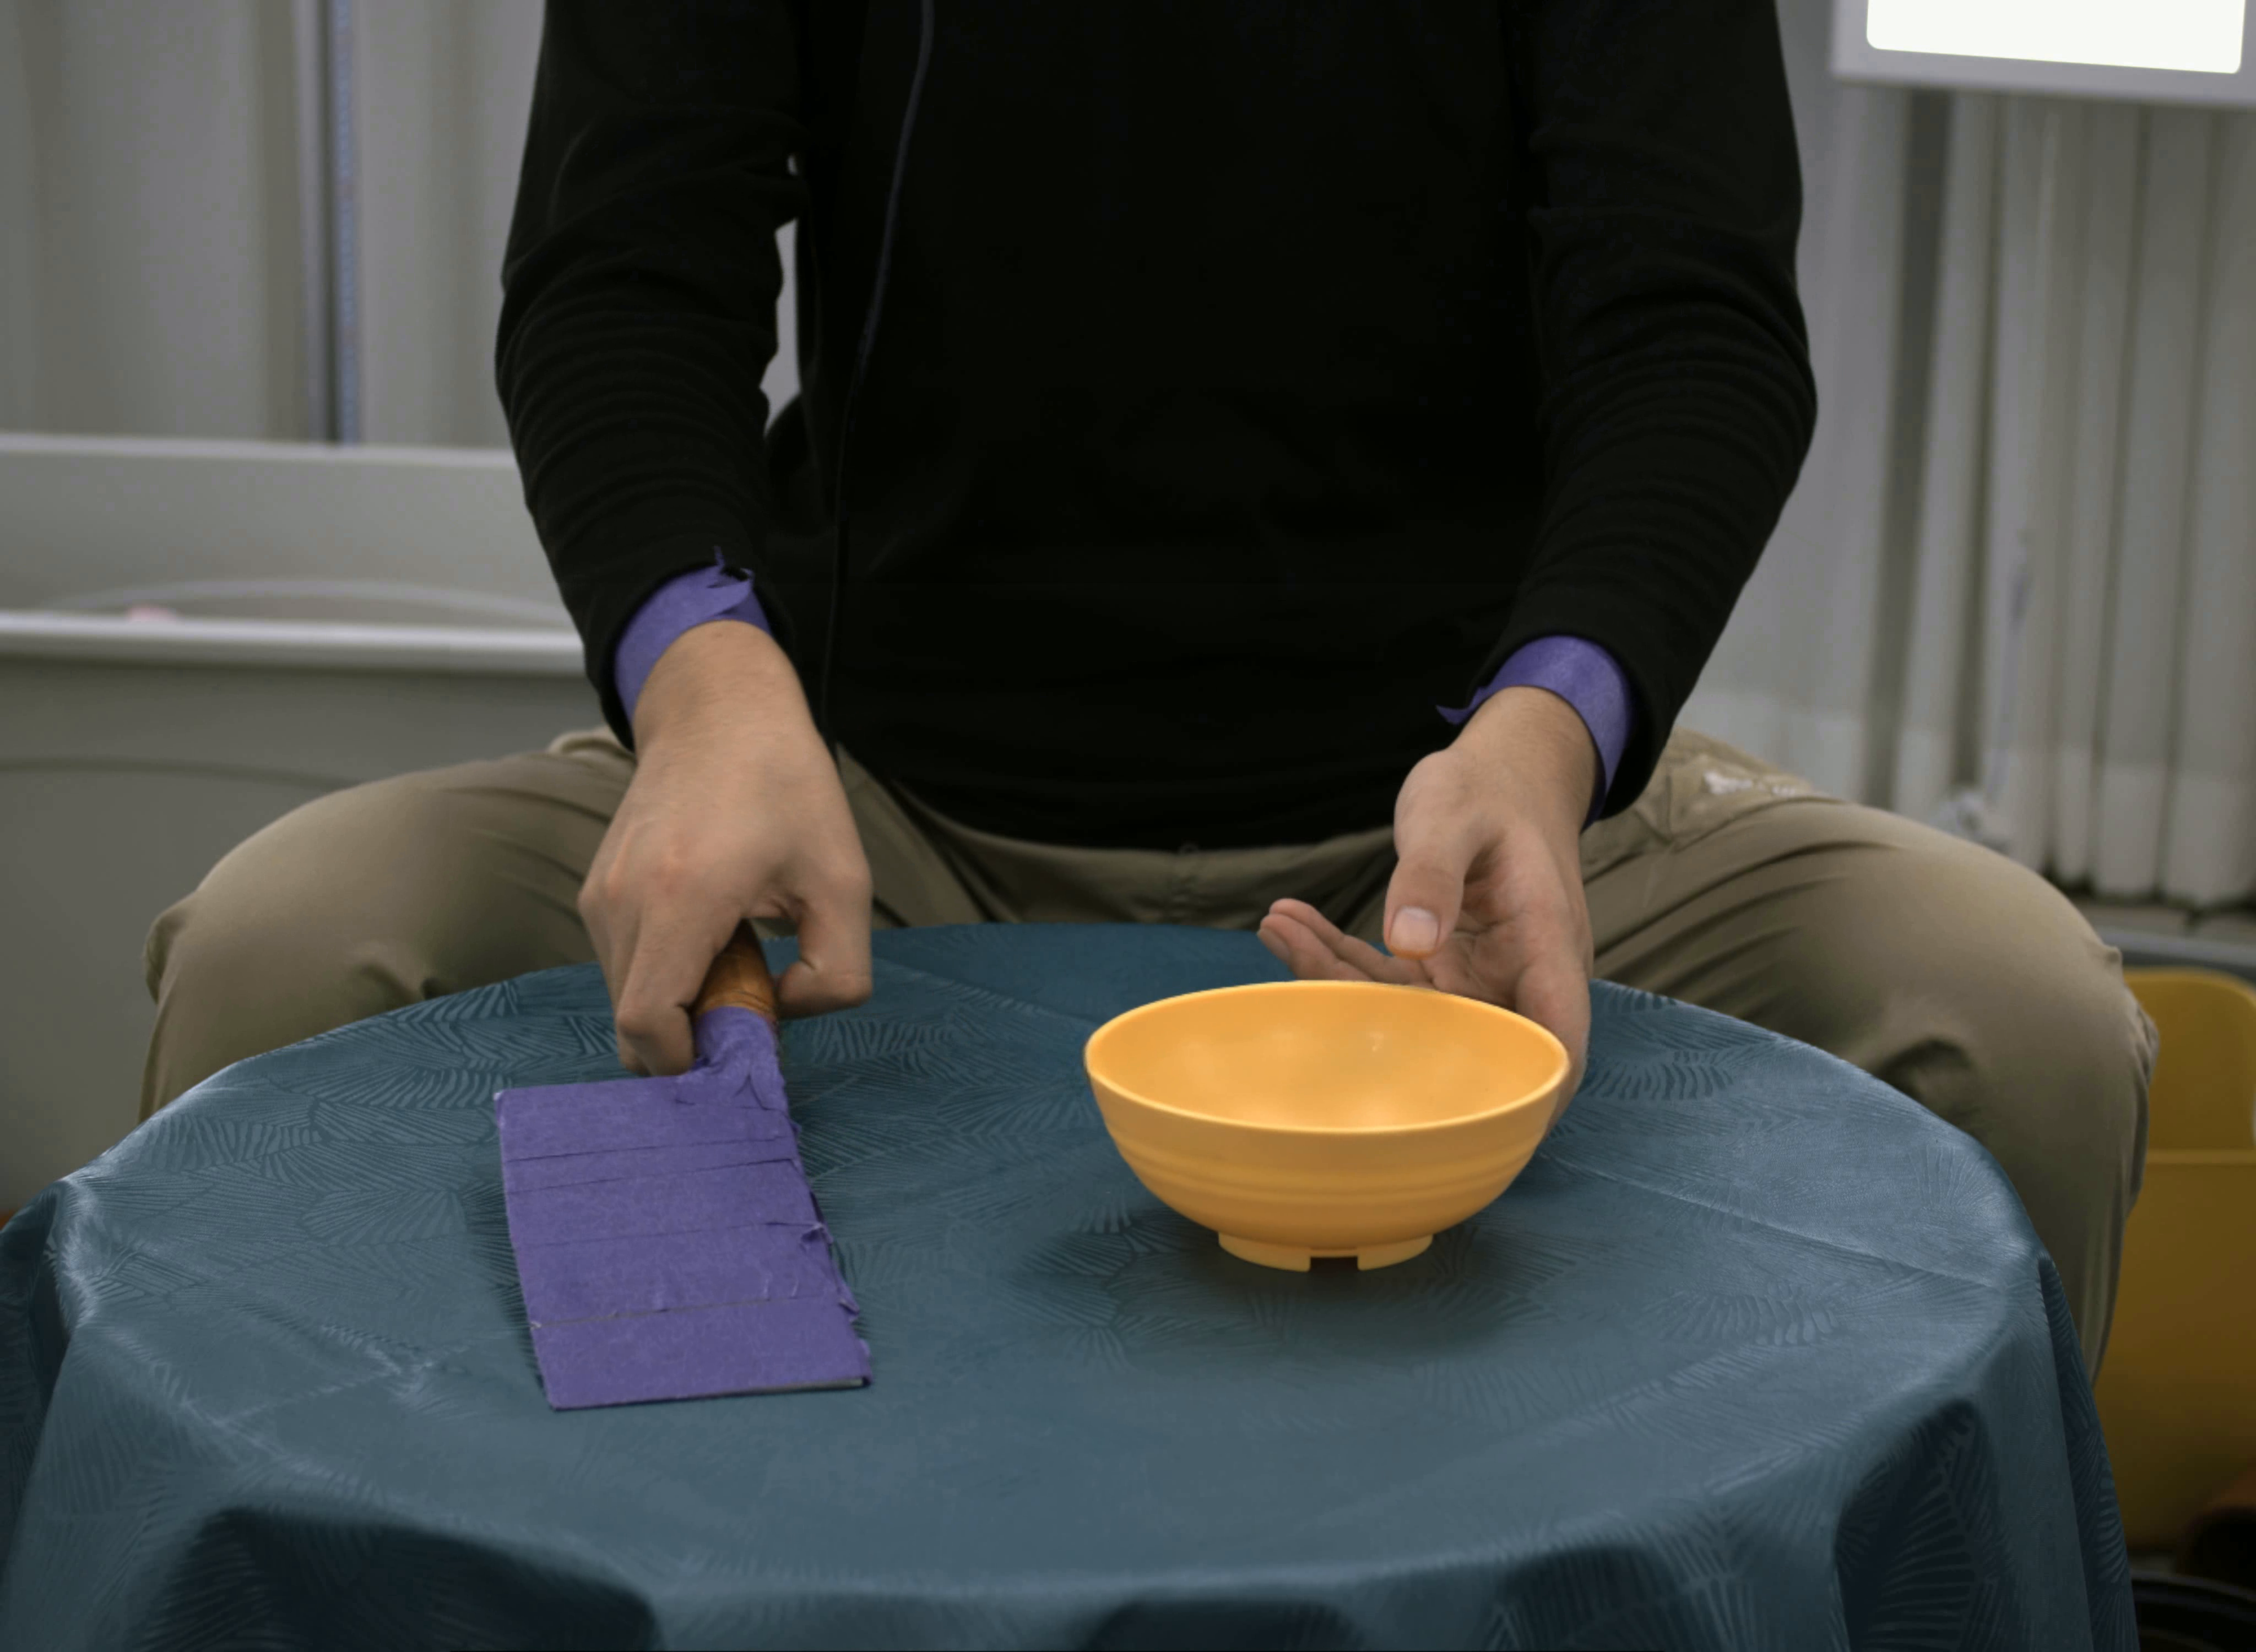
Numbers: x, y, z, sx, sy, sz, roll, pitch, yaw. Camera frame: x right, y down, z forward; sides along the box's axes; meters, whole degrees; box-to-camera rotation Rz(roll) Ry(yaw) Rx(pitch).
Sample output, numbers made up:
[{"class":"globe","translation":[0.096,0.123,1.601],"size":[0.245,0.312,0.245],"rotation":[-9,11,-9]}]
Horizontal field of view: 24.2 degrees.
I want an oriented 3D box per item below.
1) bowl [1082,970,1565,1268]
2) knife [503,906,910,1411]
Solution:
[{"class":"bowl","translation":[0.057,0.093,1.578],"size":[0.145,0.060,0.144],"rotation":[2,16,0]},{"class":"knife","translation":[-0.139,0.095,1.588],"size":[0.104,0.032,0.312],"rotation":[-3,21,-11]}]
